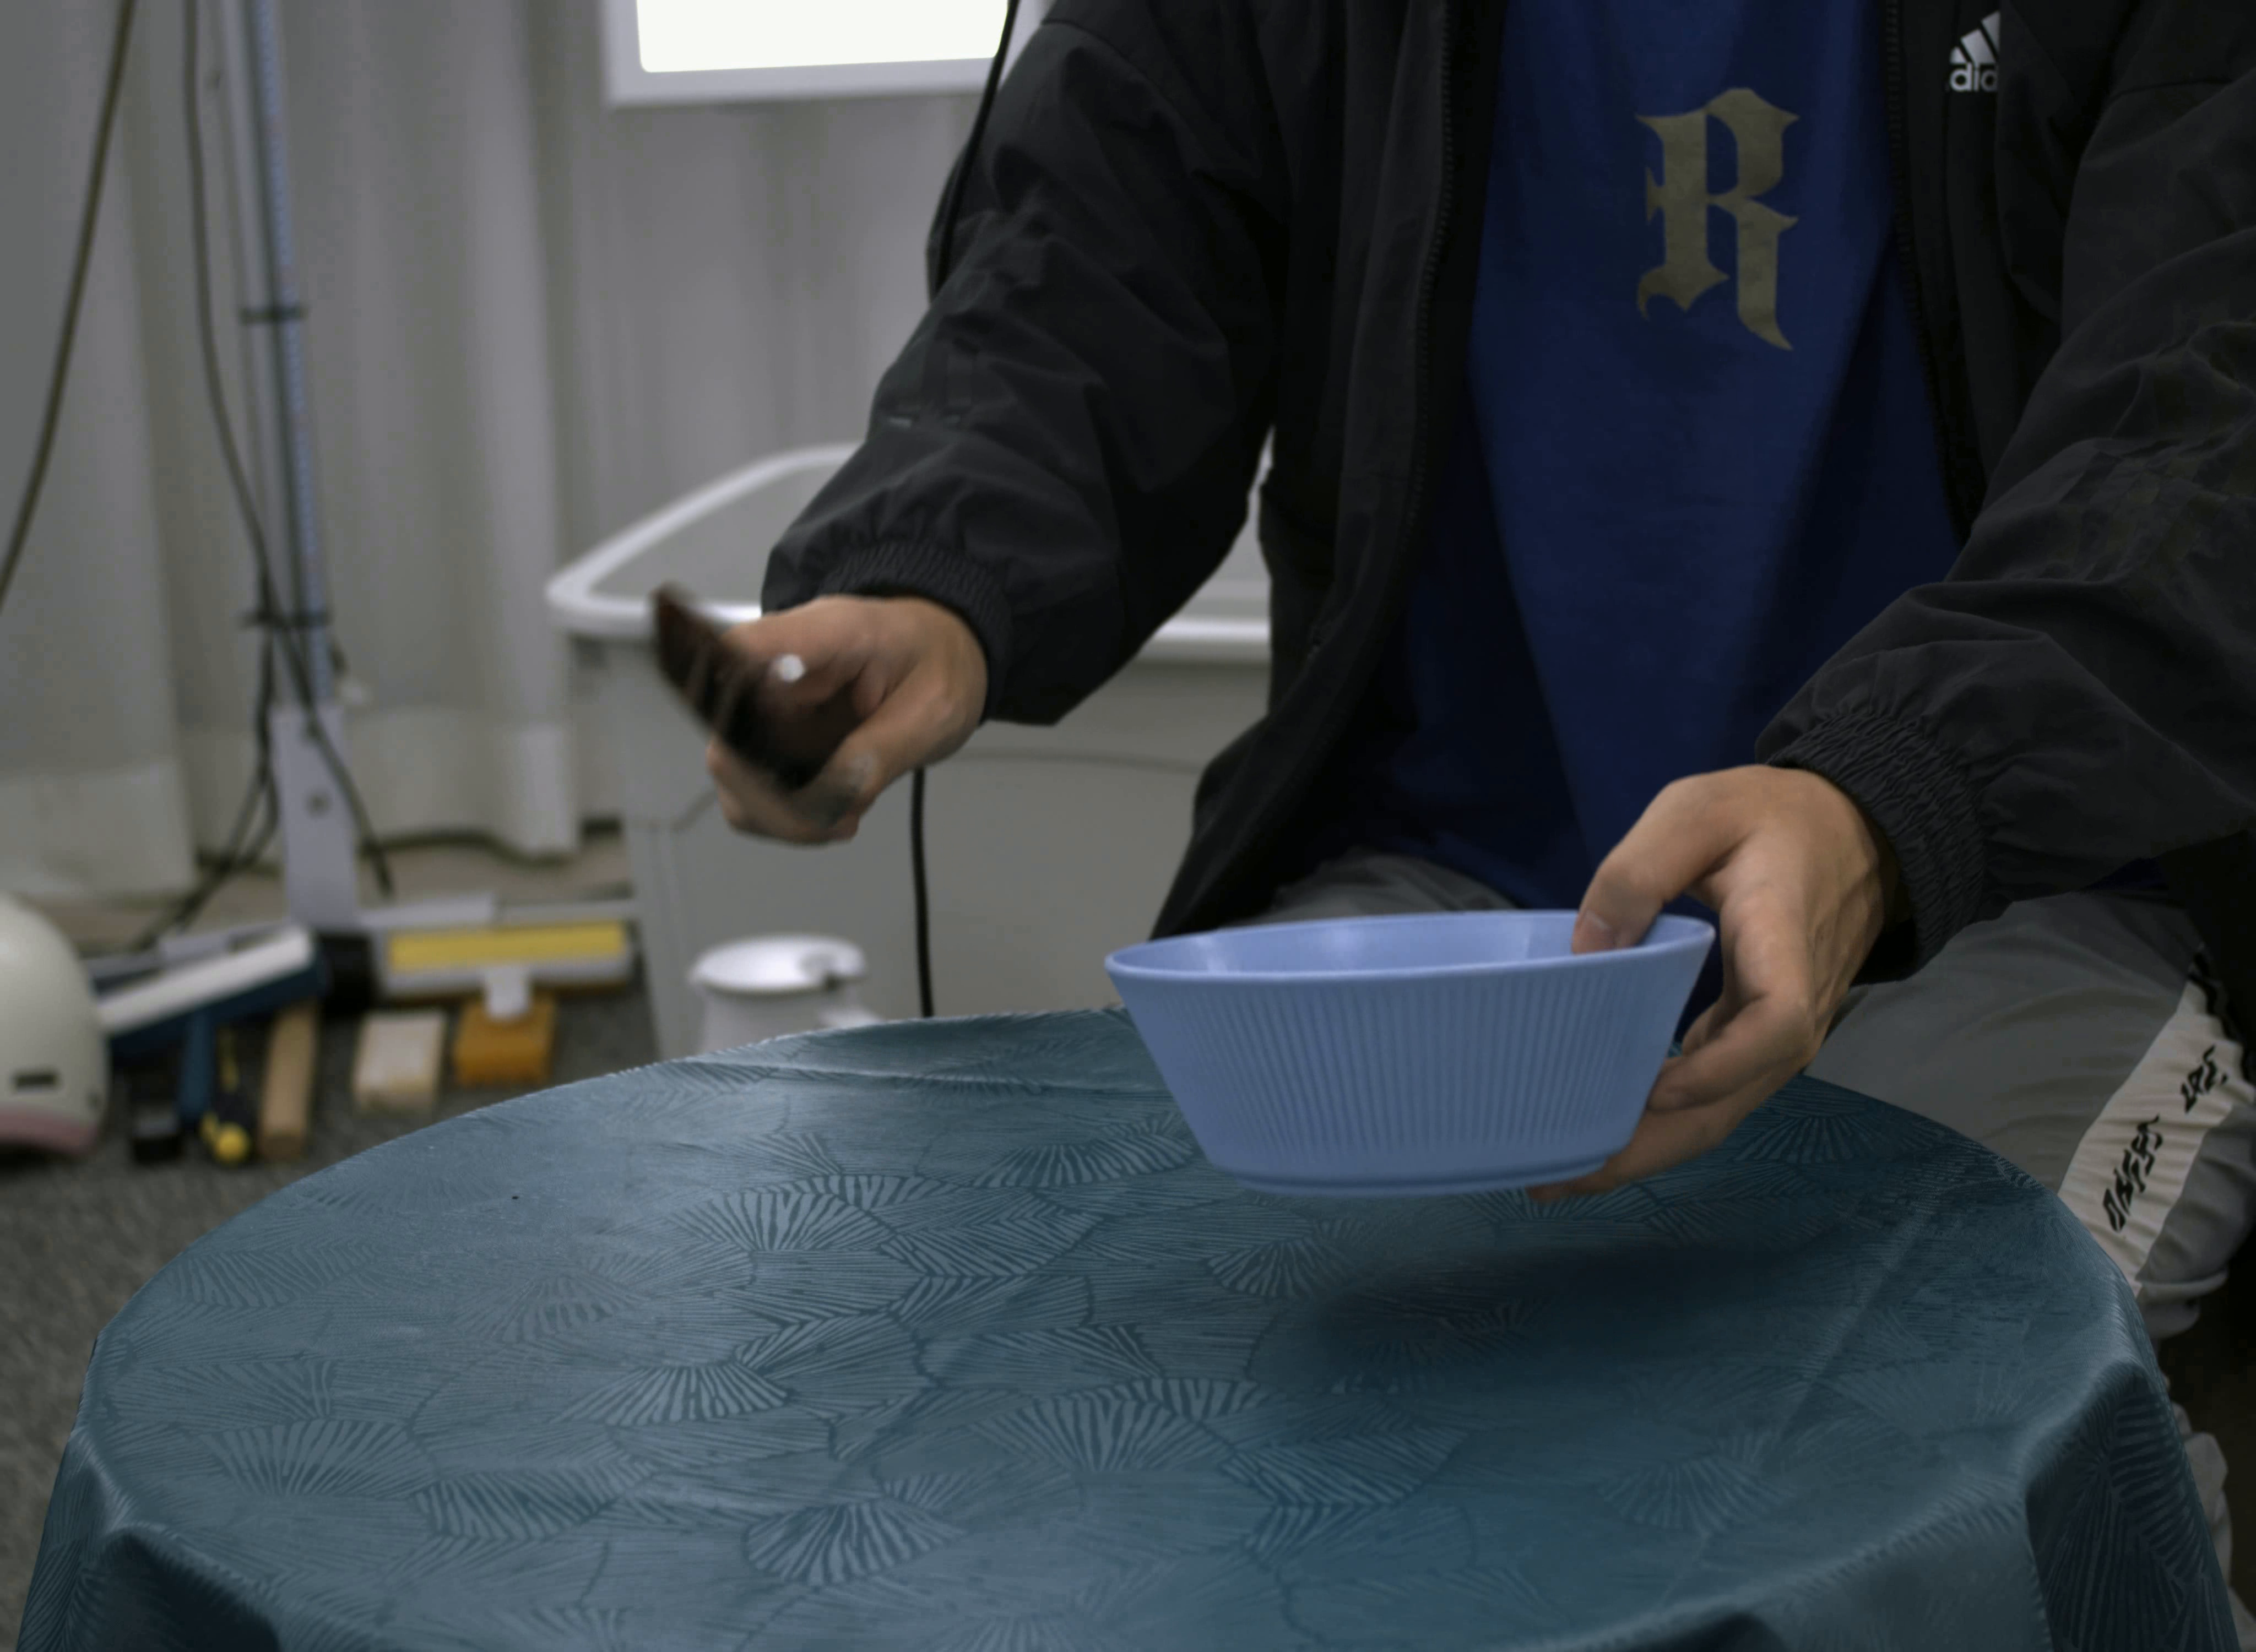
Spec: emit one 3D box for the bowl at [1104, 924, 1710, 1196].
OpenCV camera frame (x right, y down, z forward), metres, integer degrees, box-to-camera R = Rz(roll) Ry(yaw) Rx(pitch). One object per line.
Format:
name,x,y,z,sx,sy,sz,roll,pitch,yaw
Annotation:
bowl,0.081,0.066,1.572,0.175,0.070,0.176,-3,2,0

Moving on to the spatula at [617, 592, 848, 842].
spatula,-0.114,-0.019,1.721,0.024,0.085,0.385,-46,-4,-2
